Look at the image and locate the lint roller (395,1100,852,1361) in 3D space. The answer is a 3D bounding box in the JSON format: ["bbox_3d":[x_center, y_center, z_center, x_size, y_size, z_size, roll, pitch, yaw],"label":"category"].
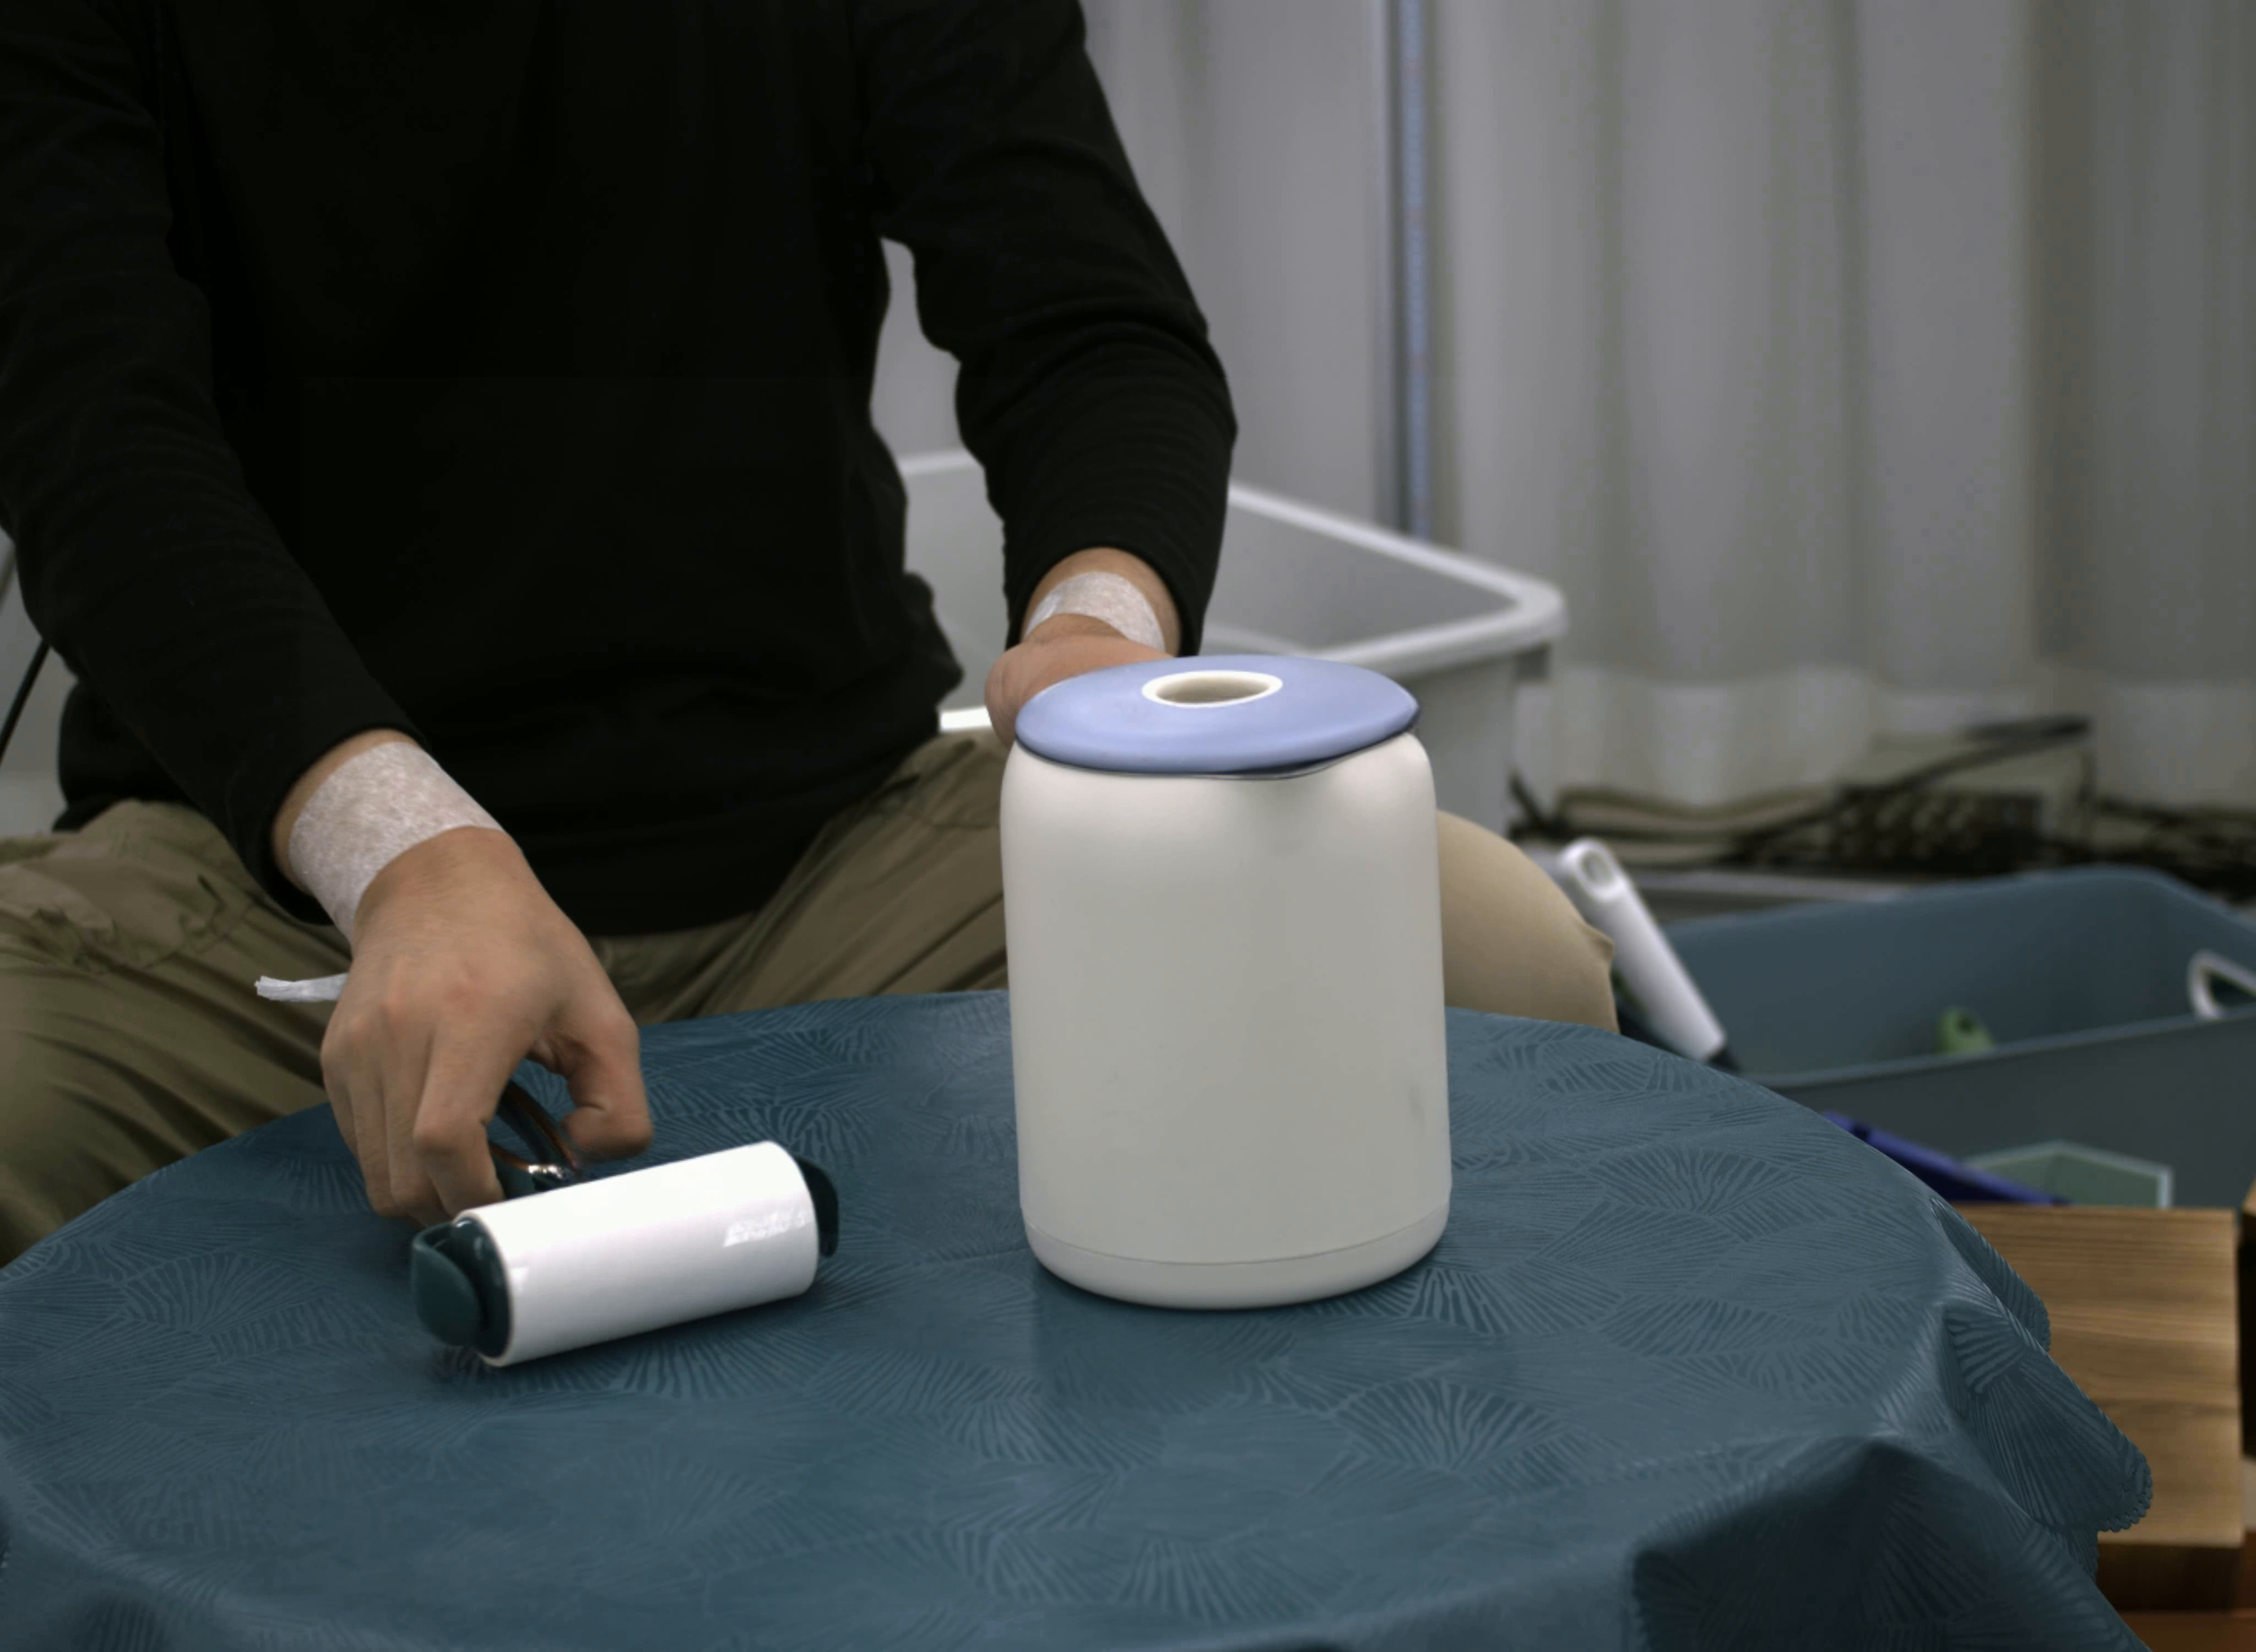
[{"bbox_3d":[-0.180,0.102,1.662,0.134,0.048,0.182,-10,25,-27],"label":"lint roller"}]

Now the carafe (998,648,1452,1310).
[{"bbox_3d":[0.021,0.039,1.661,0.131,0.182,0.192,-7,13,-18],"label":"carafe"}]
